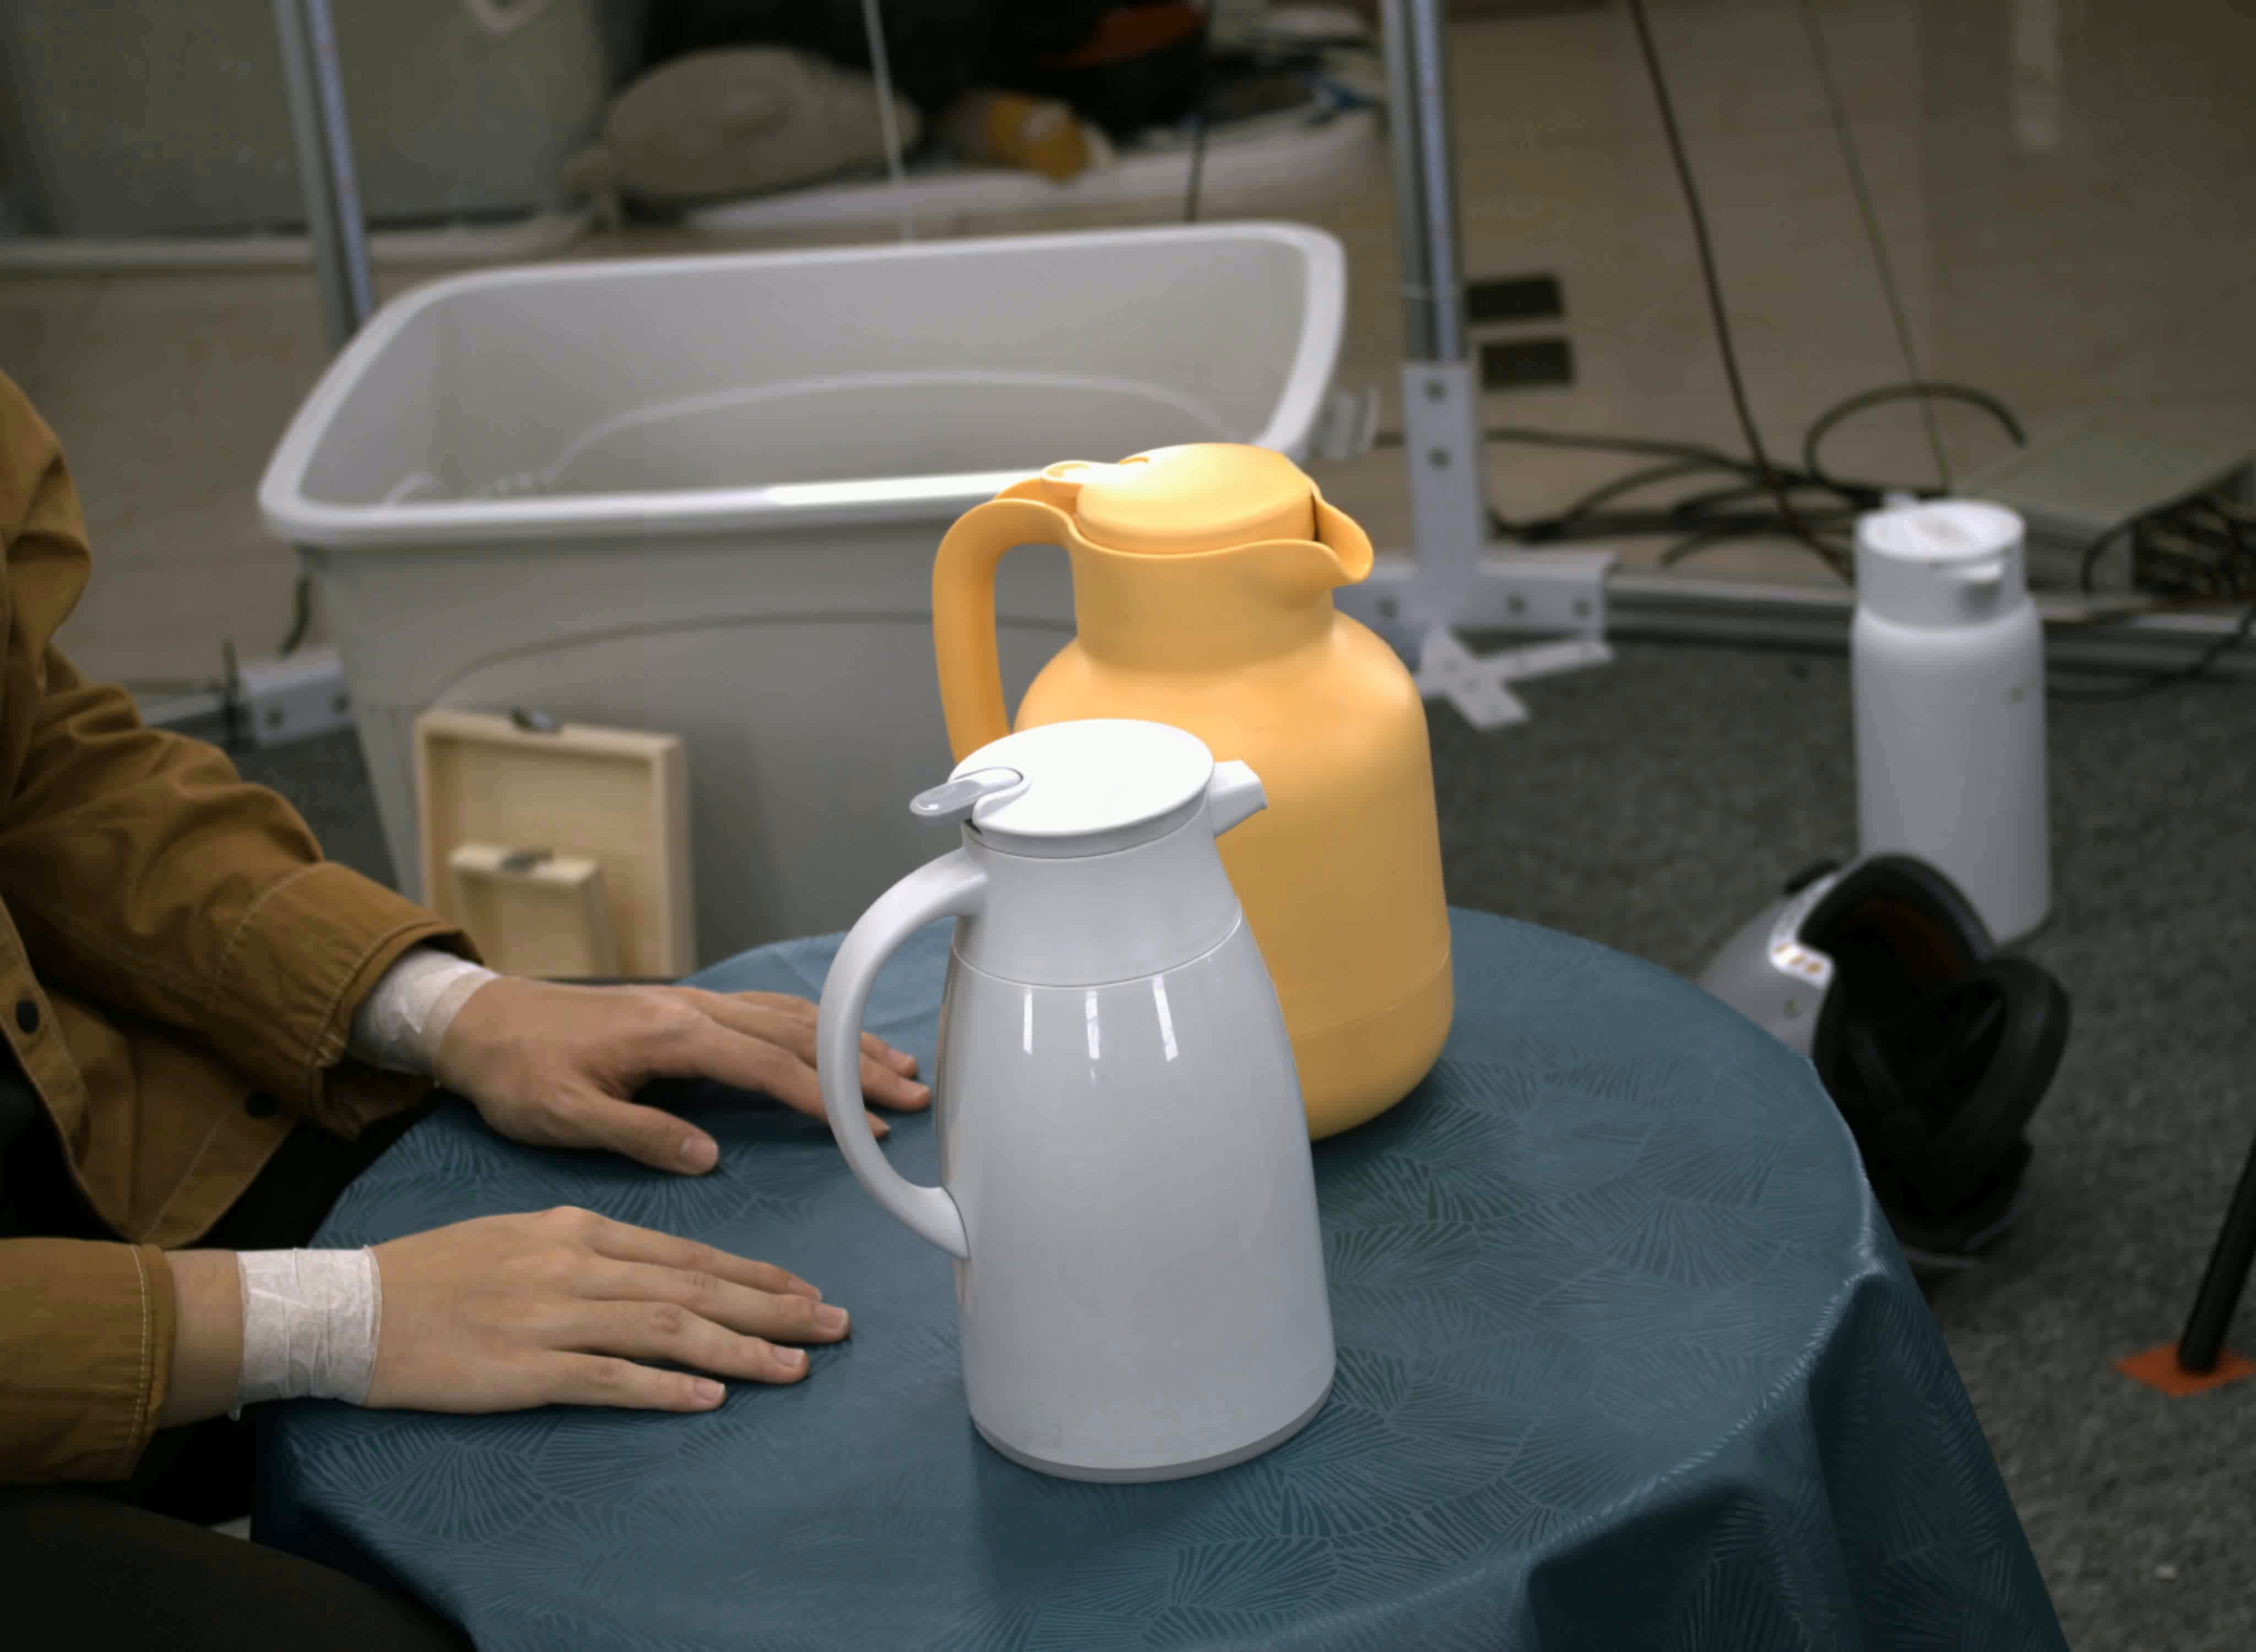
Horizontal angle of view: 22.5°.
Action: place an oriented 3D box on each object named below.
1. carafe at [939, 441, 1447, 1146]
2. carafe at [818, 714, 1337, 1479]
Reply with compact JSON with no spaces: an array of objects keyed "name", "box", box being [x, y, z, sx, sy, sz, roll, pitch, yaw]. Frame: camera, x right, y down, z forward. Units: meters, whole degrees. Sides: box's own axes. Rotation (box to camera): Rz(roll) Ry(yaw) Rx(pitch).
[{"name":"carafe","box":[0.021,-0.019,2.171,0.201,0.264,0.162,14,31,33]},{"name":"carafe","box":[-0.021,0.091,1.957,0.167,0.253,0.131,-15,27,-15]}]
